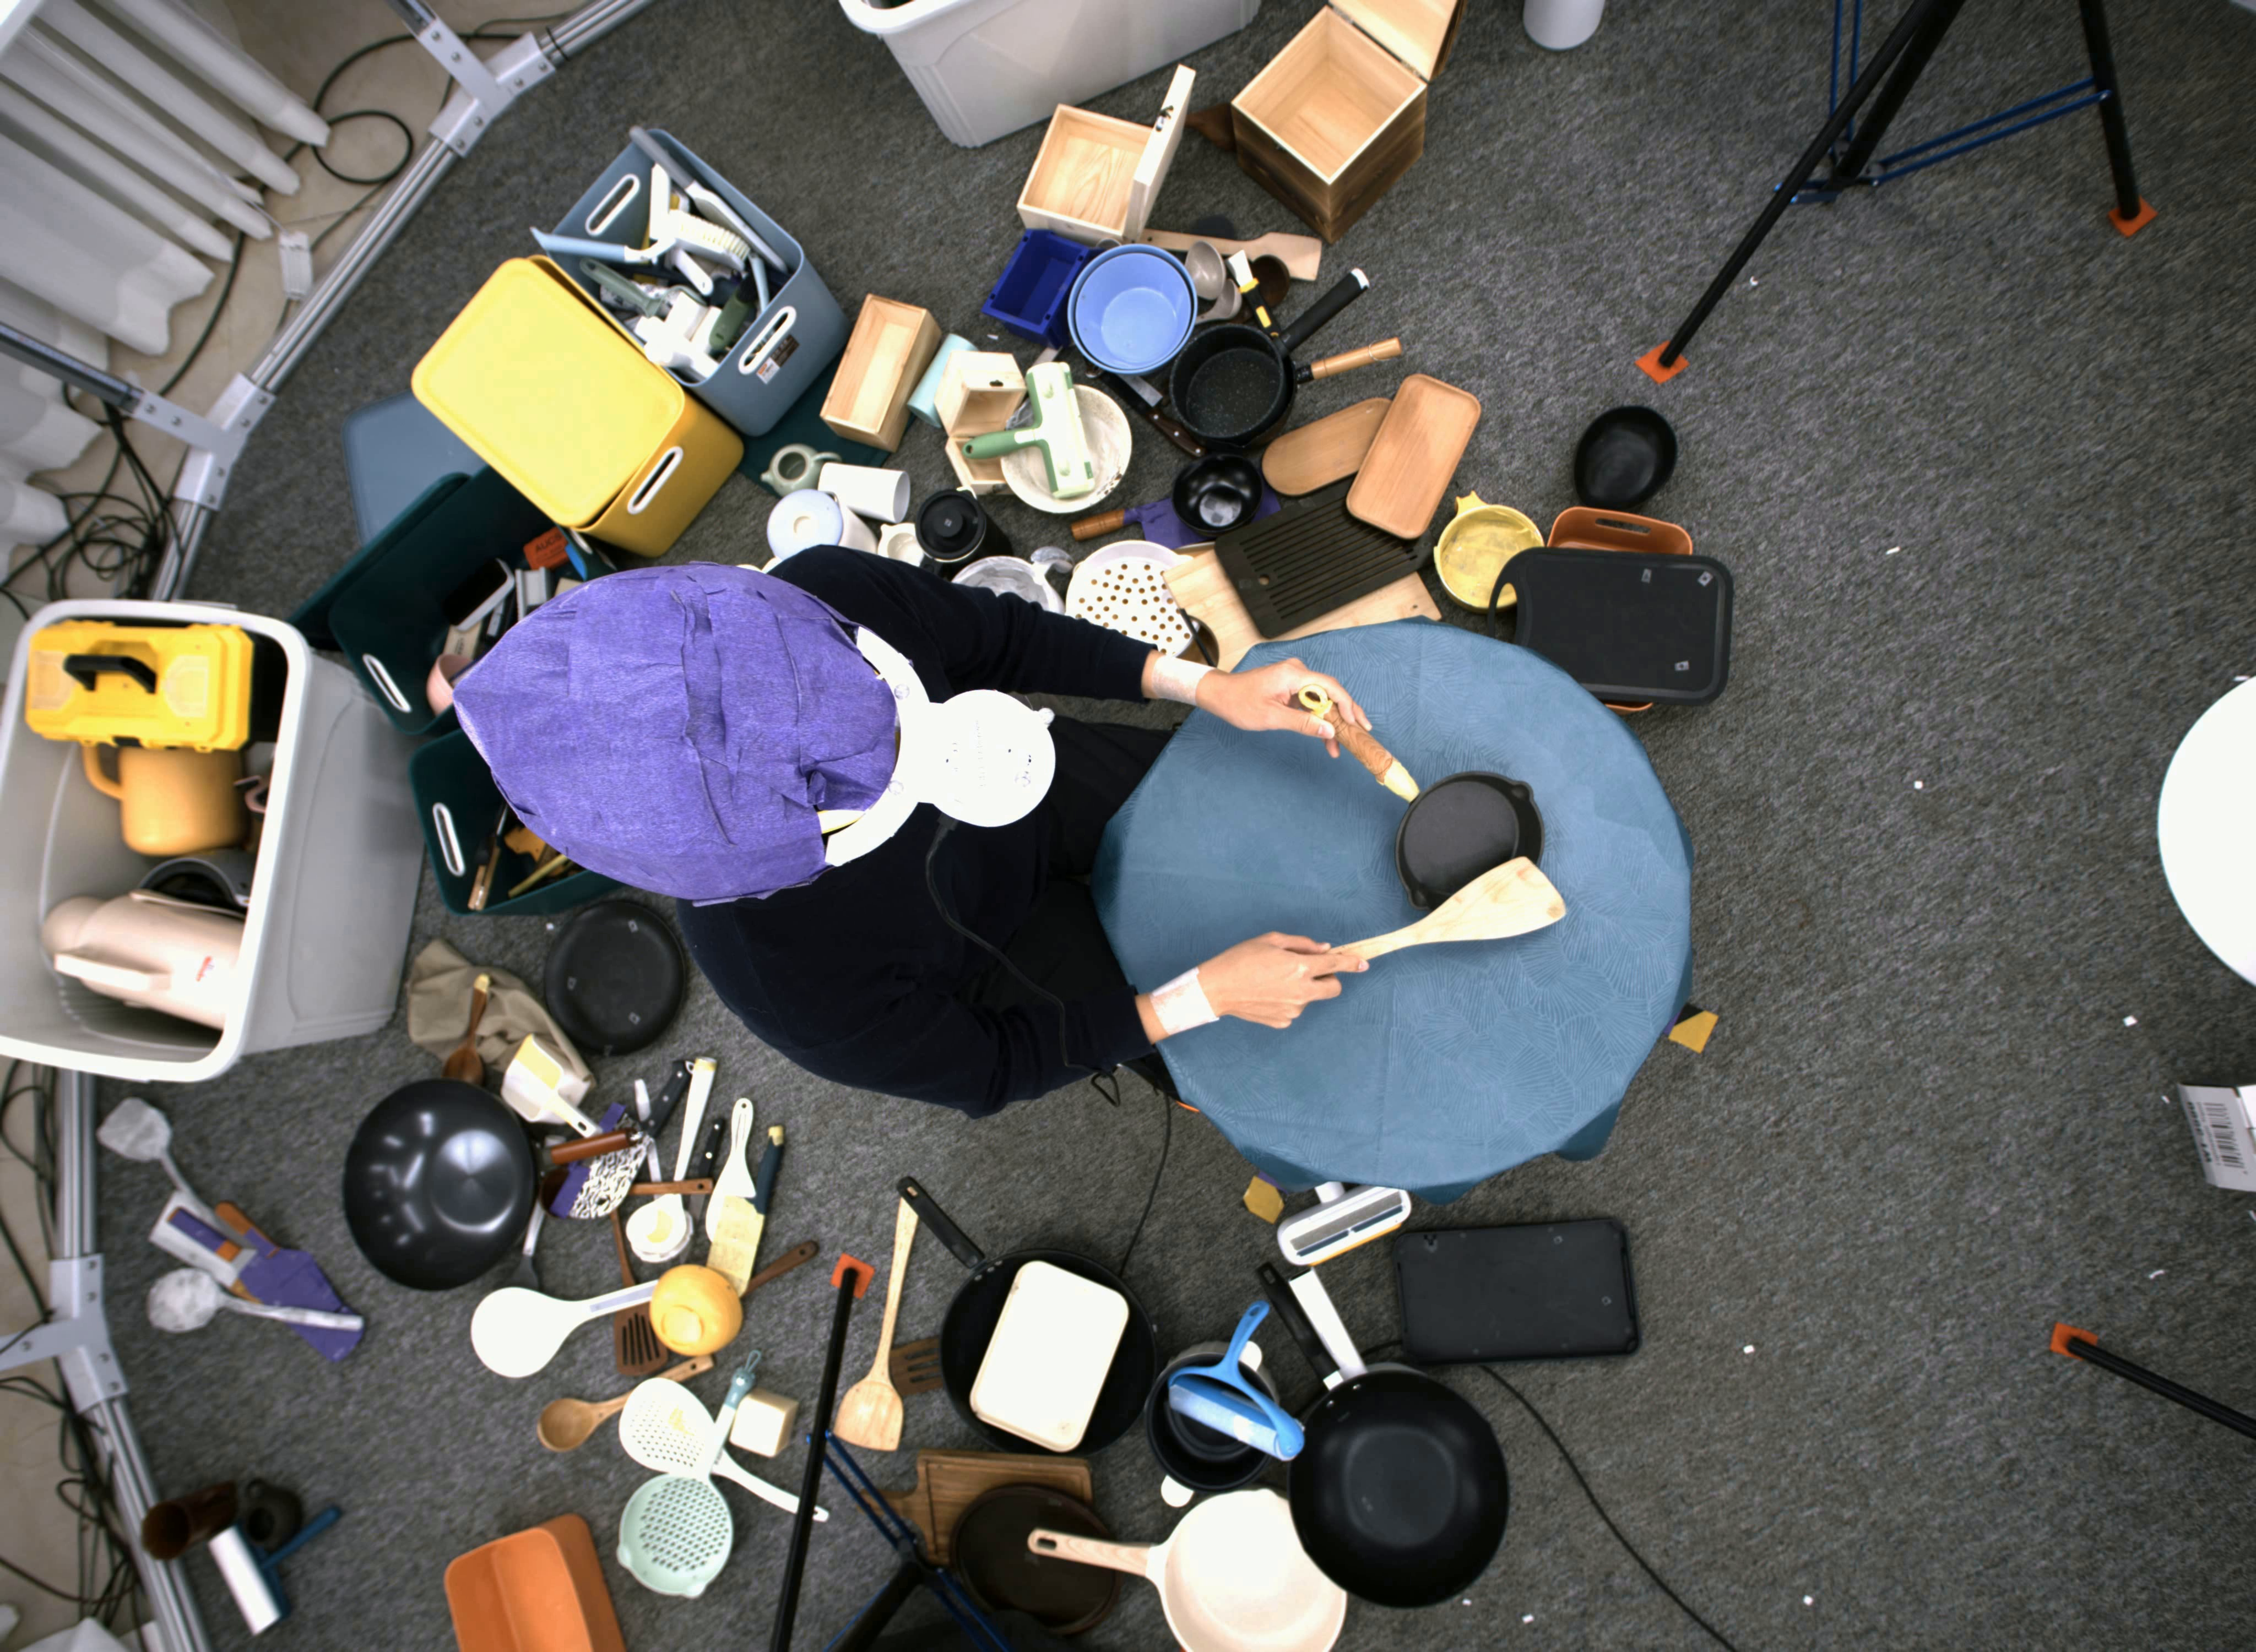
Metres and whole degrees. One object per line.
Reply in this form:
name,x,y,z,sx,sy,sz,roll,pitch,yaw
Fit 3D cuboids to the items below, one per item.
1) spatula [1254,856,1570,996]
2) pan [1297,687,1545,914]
spatula,0.280,0.107,1.387,0.327,0.017,0.078,-18,64,-5
pan,0.285,-0.037,1.374,0.326,0.049,0.170,41,101,-18
